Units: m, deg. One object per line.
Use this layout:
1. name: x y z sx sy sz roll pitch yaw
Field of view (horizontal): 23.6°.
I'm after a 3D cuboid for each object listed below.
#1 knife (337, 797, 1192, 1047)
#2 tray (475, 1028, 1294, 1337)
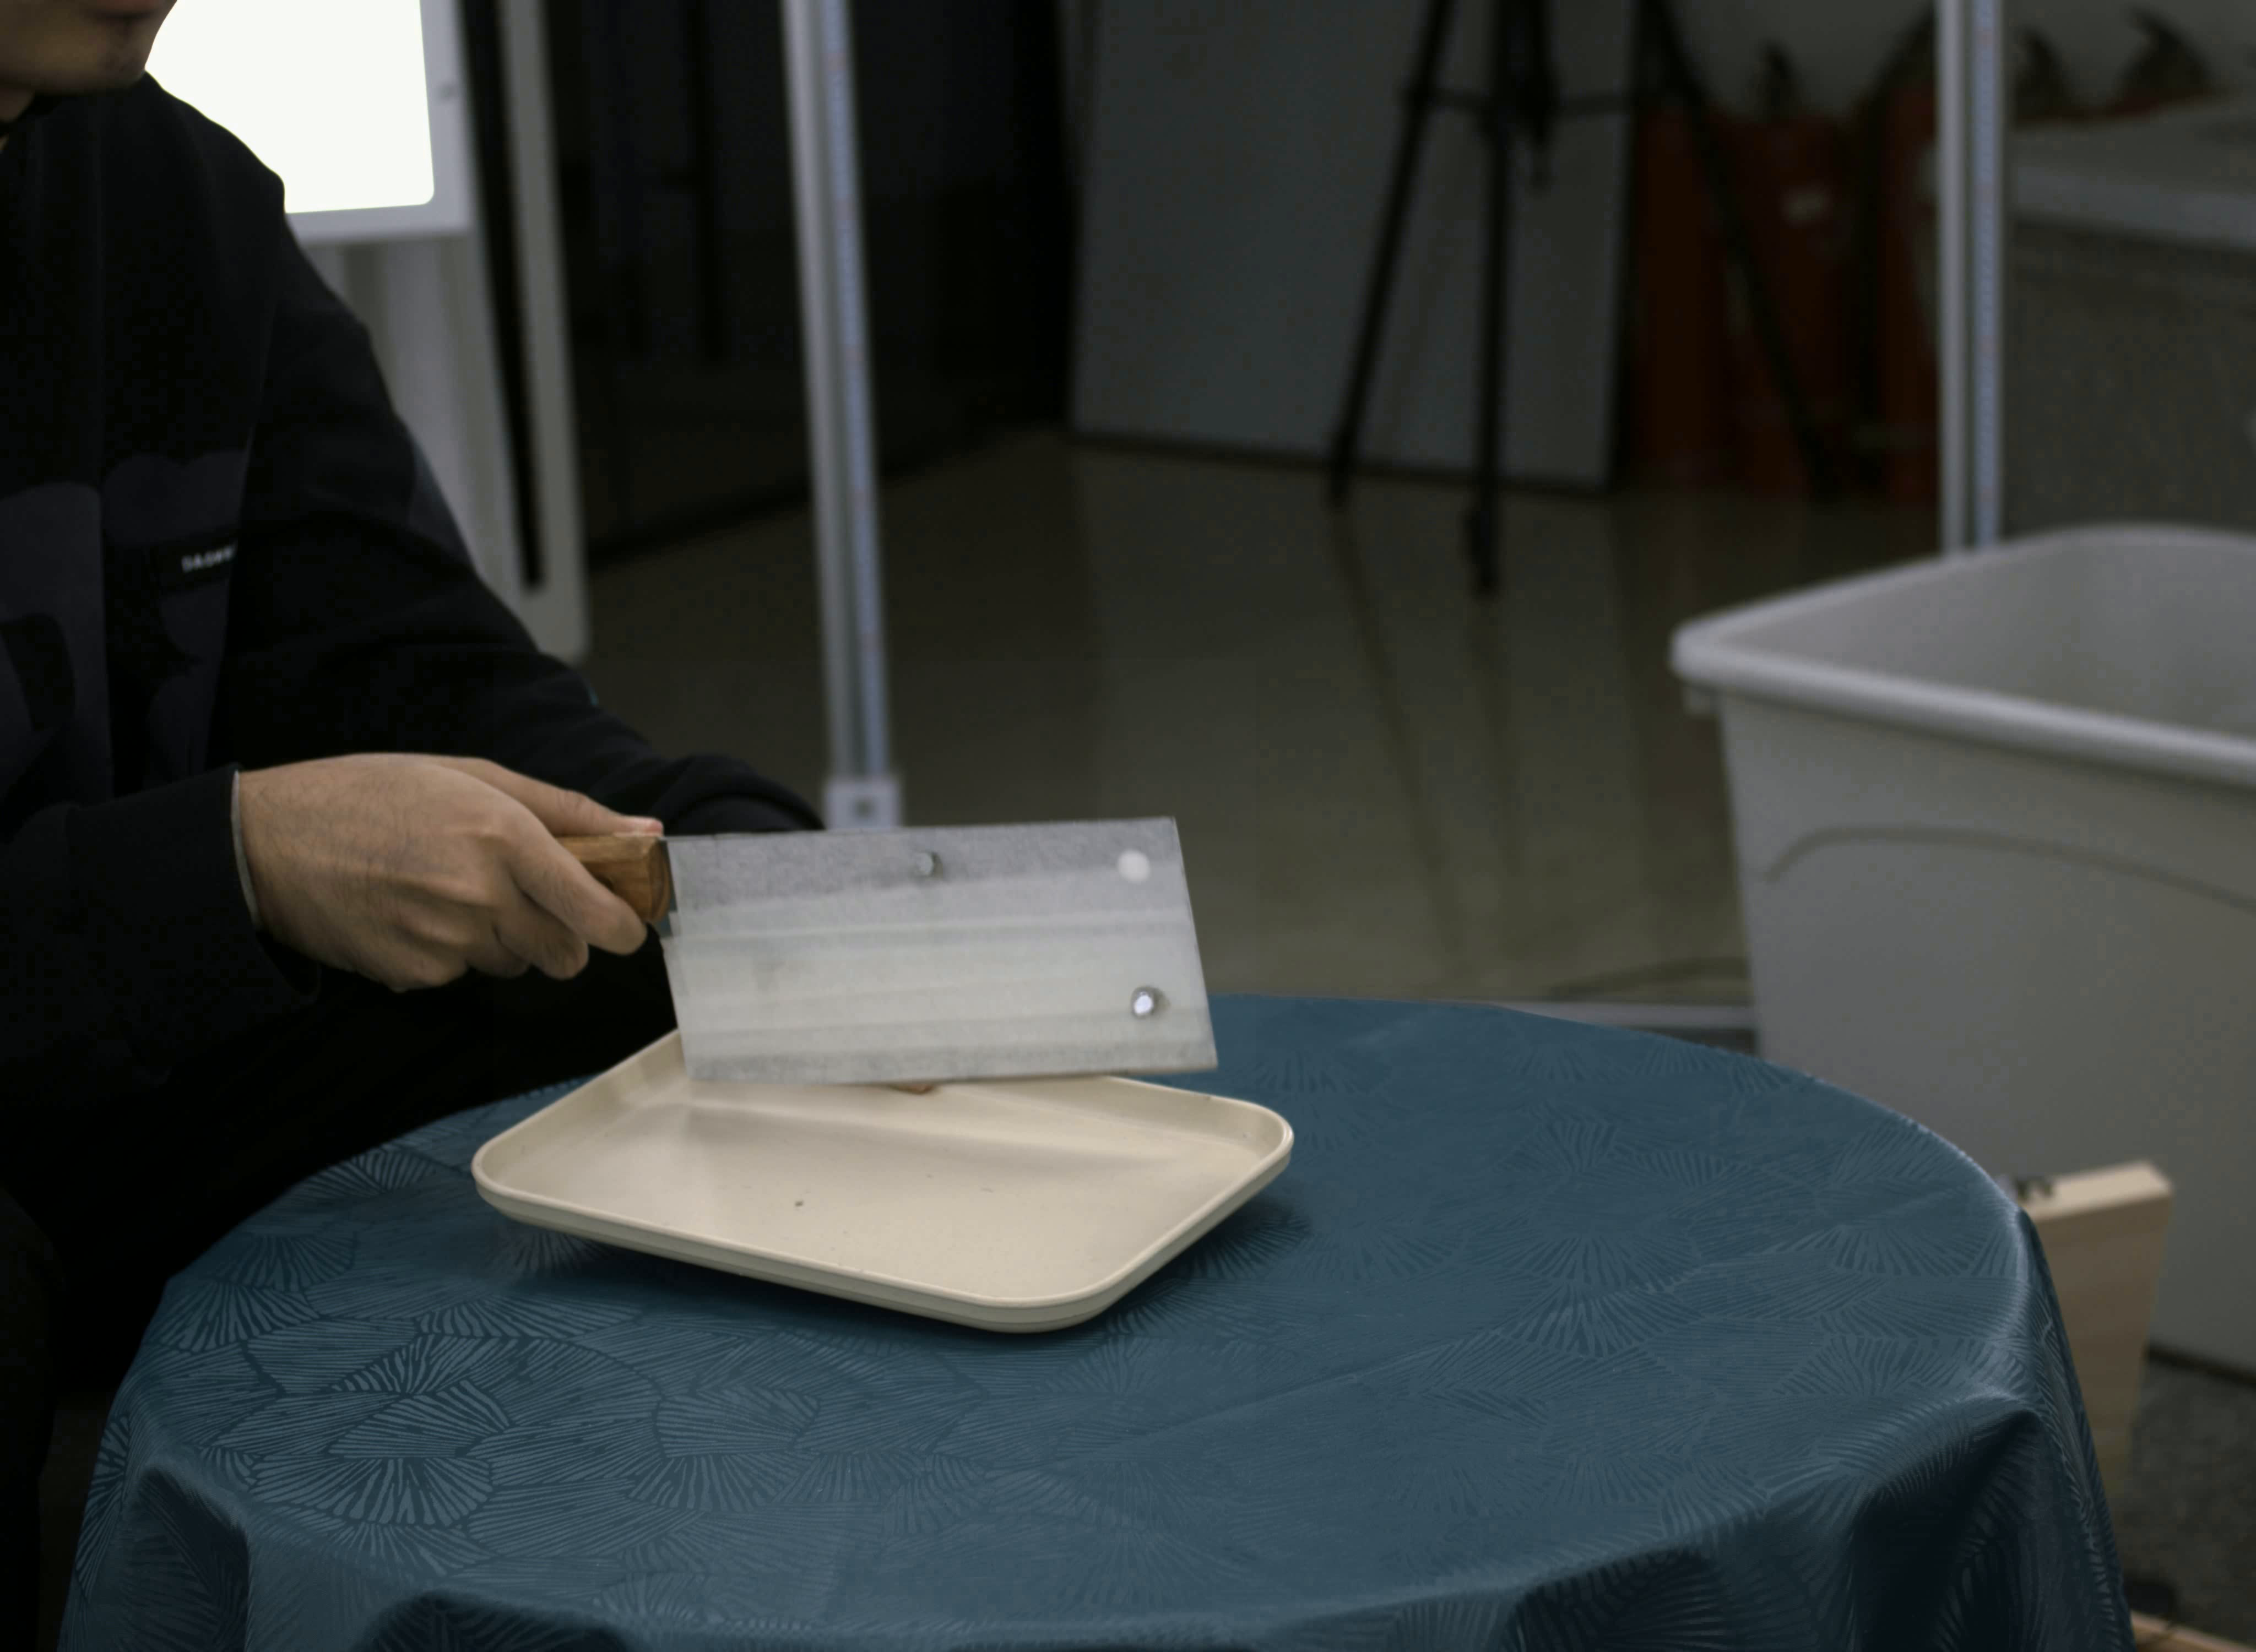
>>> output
1. knife: -0.121 0.035 1.783 0.306 0.093 0.021 -3 33 27
2. tray: -0.078 0.112 1.741 0.241 0.017 0.169 9 24 31
